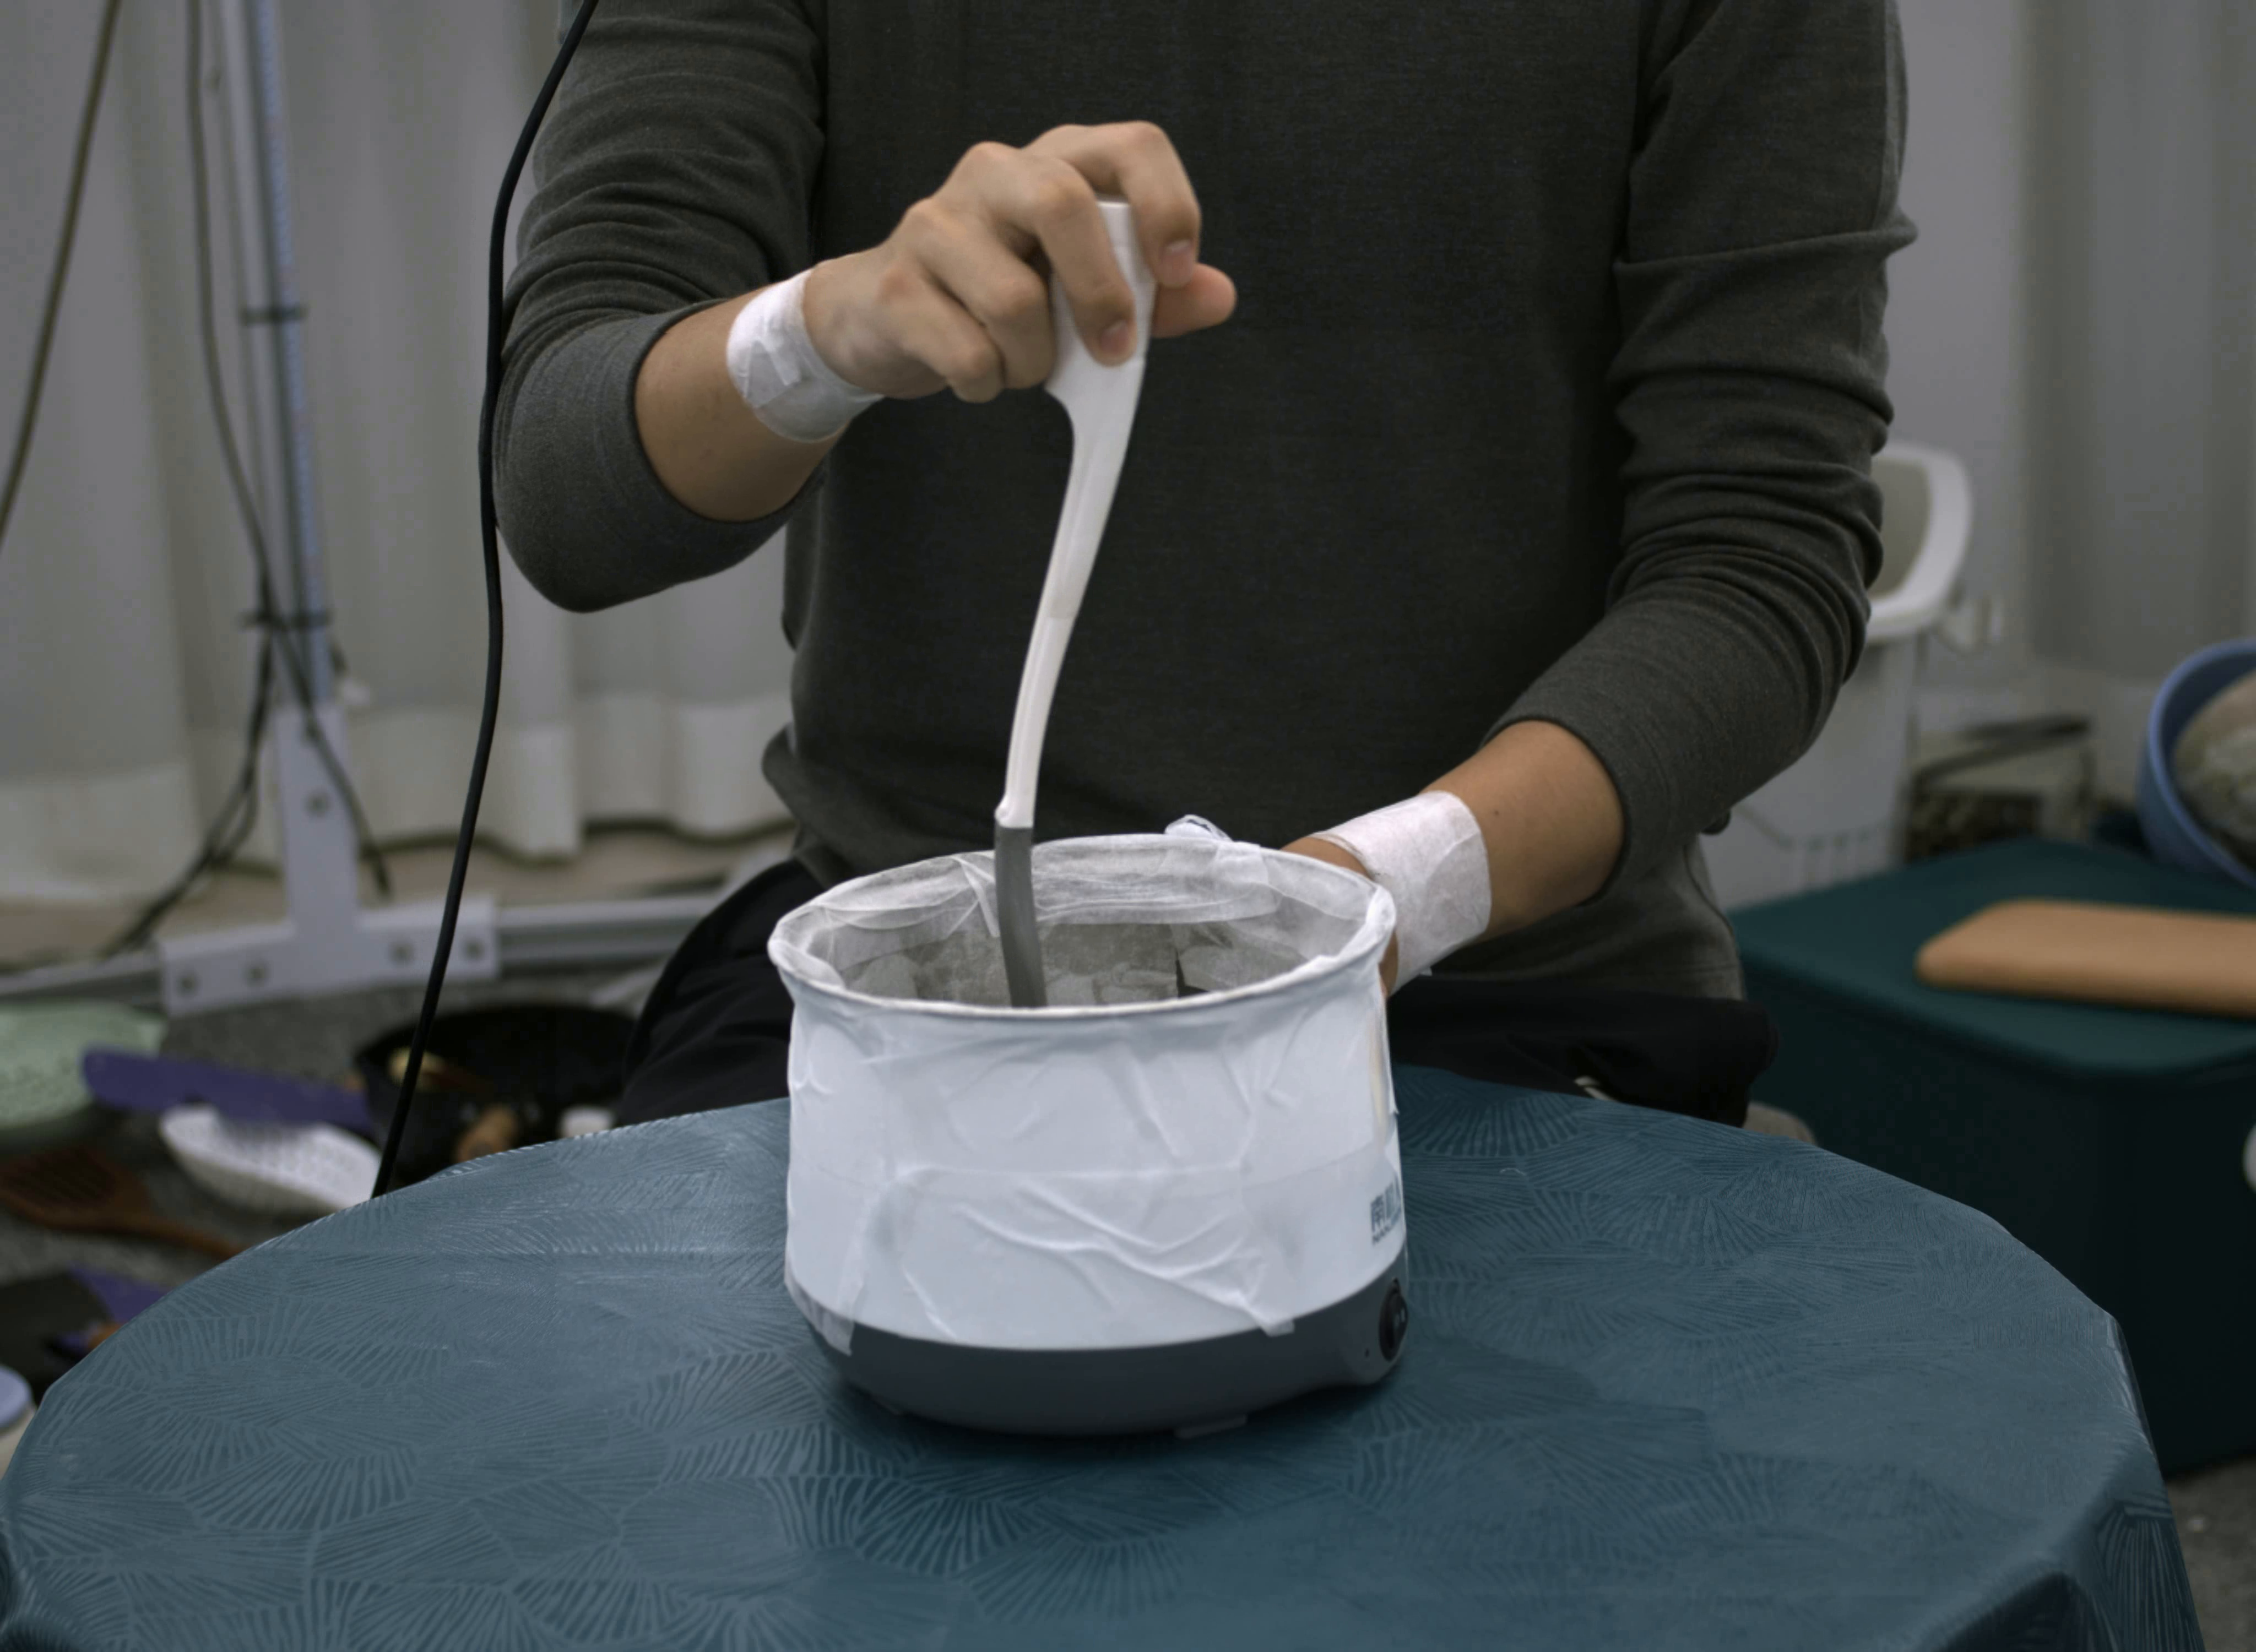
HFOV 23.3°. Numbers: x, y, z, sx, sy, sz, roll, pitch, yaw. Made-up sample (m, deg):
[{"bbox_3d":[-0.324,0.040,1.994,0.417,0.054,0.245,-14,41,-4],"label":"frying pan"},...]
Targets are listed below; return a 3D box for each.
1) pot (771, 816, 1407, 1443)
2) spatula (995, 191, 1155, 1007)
[{"bbox_3d":[-0.001,0.081,1.581,0.179,0.136,0.234,2,15,18],"label":"pot"},{"bbox_3d":[-0.019,-0.035,1.556,0.032,0.287,0.059,2,11,-12],"label":"spatula"}]
